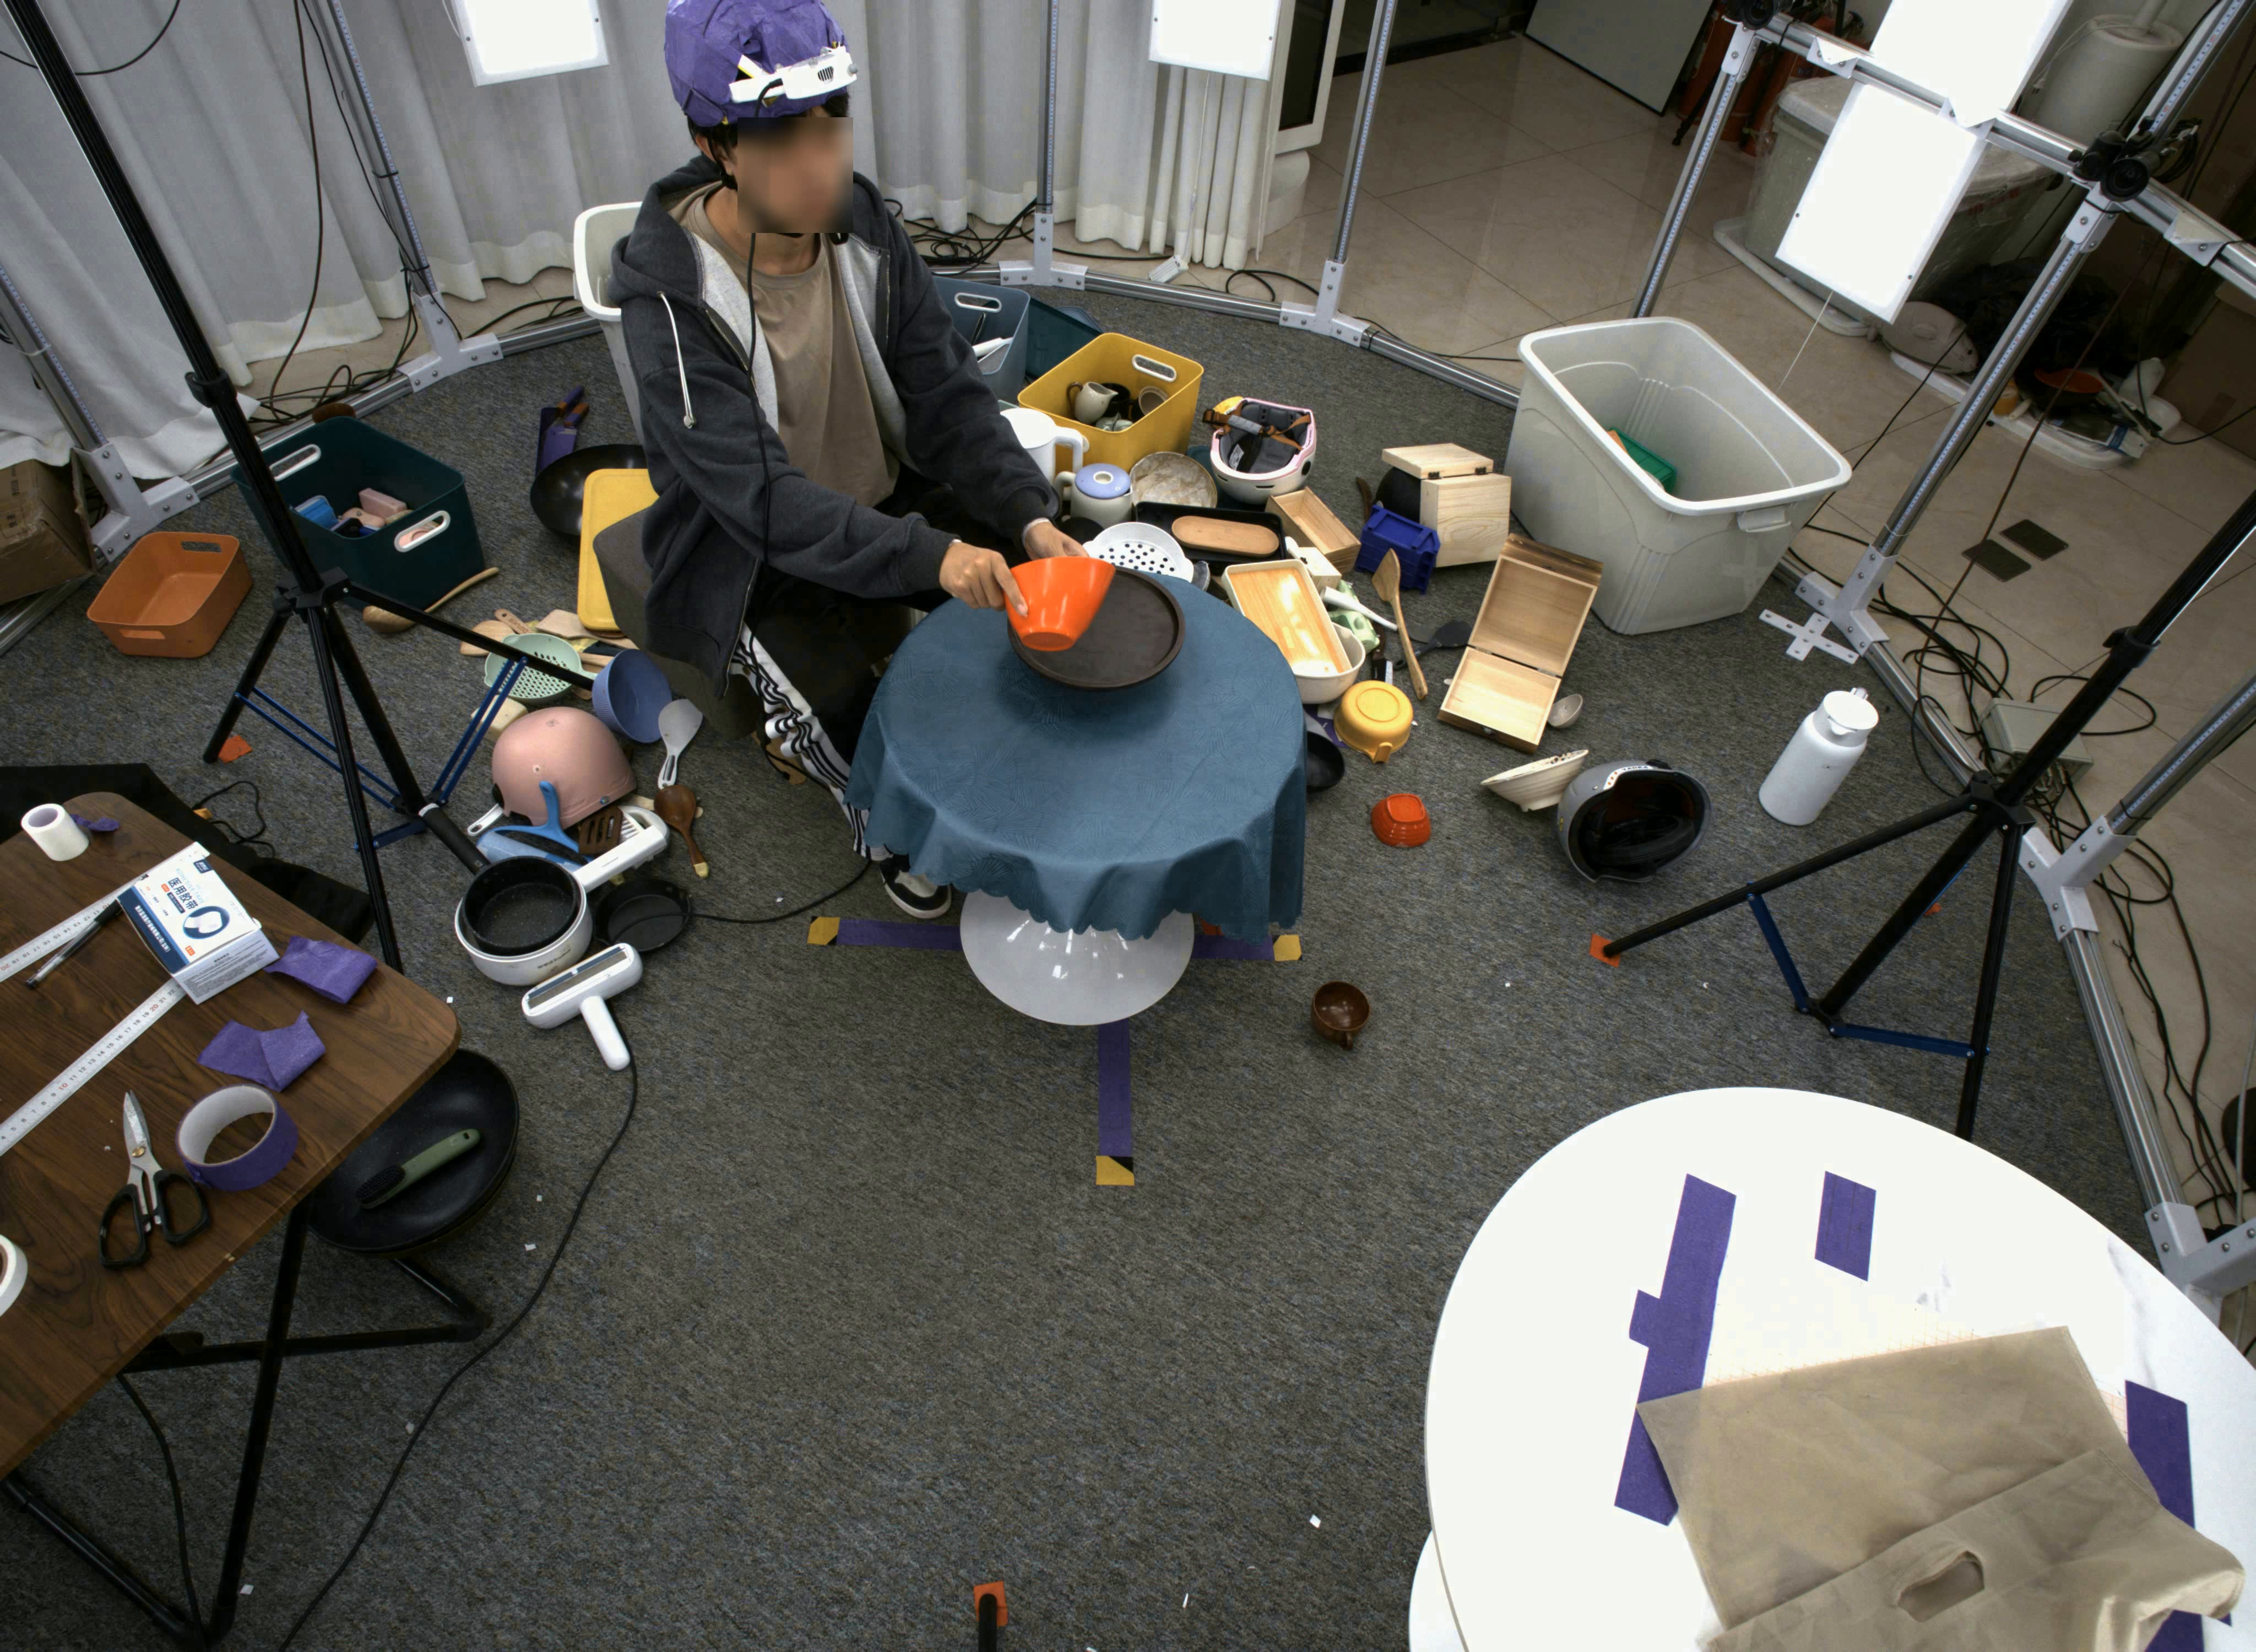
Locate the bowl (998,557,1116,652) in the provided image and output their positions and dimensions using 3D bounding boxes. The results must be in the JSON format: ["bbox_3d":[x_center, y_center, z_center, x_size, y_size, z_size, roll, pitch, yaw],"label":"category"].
[{"bbox_3d":[-0.091,-0.277,1.620,0.148,0.146,0.106,4,77,-2],"label":"bowl"}]

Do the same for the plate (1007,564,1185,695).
[{"bbox_3d":[-0.045,-0.282,1.826,0.254,0.028,0.261,1,52,-1],"label":"plate"}]
